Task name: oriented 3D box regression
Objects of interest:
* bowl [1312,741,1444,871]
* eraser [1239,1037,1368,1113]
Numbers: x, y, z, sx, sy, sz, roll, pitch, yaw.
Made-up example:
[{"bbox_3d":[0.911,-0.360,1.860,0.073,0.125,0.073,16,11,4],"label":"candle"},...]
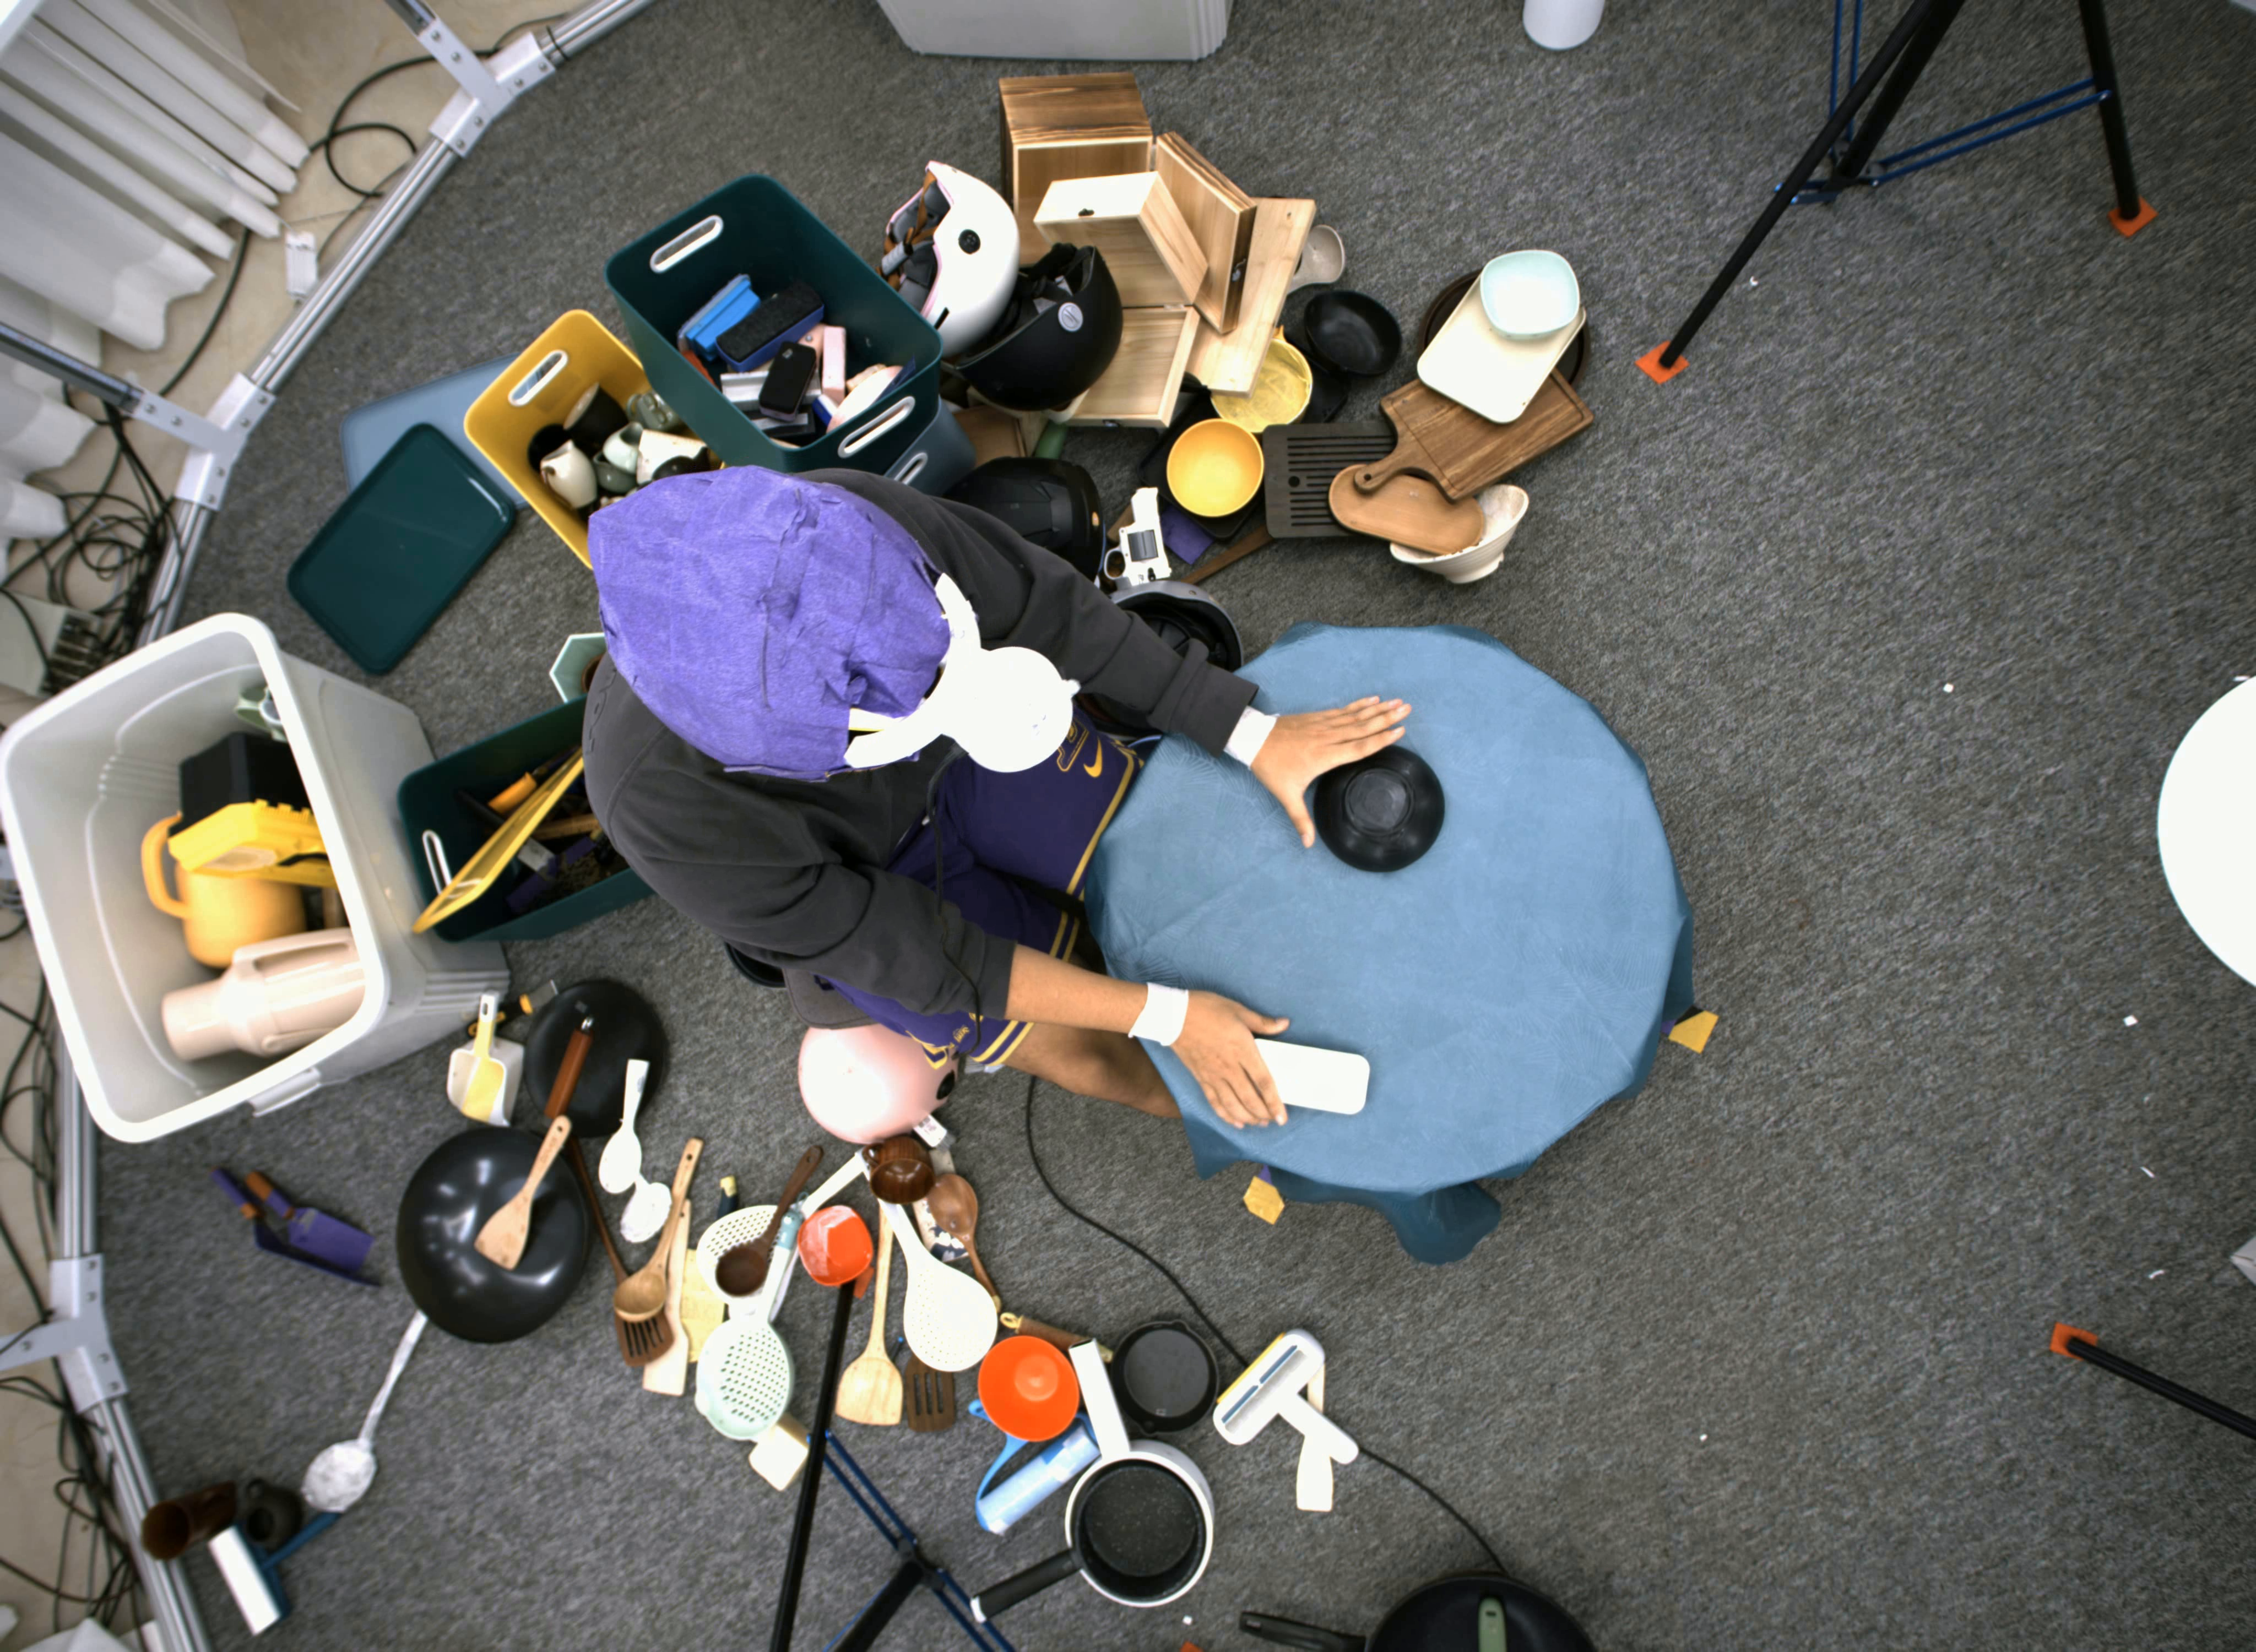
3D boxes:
[{"bbox_3d":[0.261,-0.024,1.440,0.140,0.050,0.139,-1,88,10],"label":"bowl"},{"bbox_3d":[0.183,0.257,1.449,0.131,0.034,0.063,10,87,9],"label":"eraser"}]
